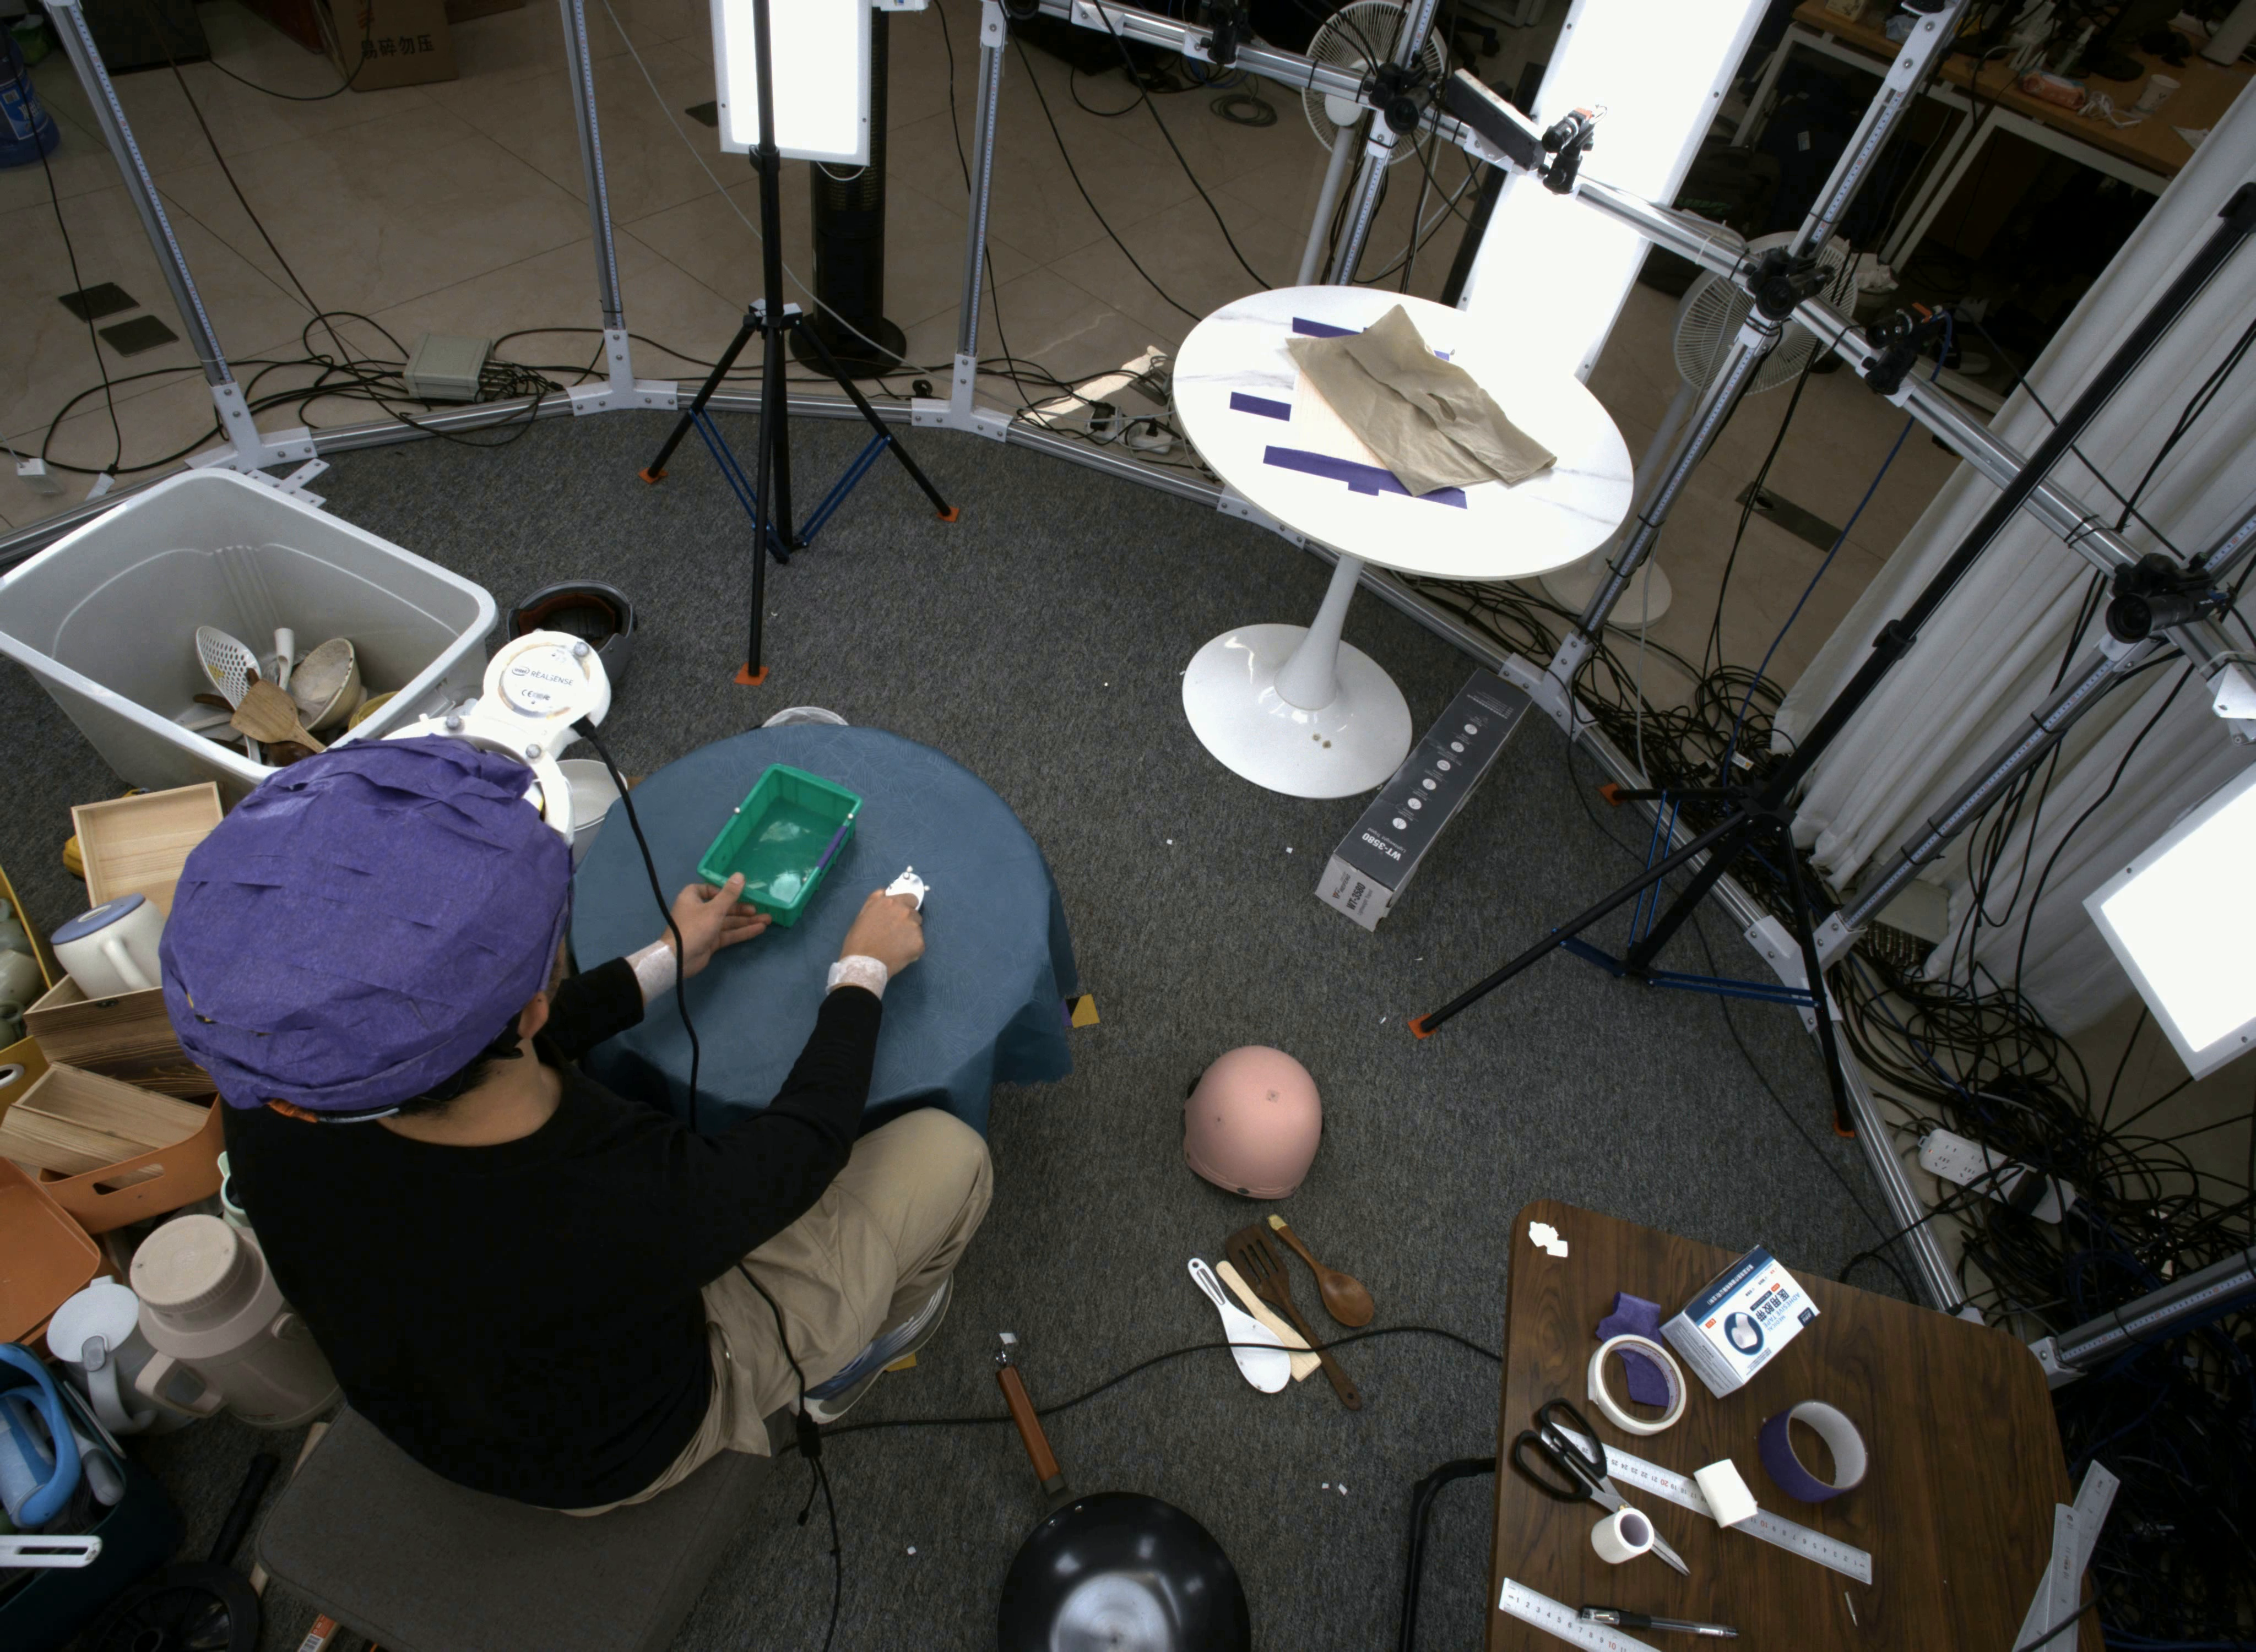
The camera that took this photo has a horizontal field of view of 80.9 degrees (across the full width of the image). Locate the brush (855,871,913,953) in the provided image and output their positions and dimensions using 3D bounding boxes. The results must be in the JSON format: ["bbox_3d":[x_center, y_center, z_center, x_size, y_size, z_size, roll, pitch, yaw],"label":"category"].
[{"bbox_3d":[-0.305,0.099,1.628,0.049,0.074,0.098,24,52,6],"label":"brush"}]

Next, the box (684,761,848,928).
[{"bbox_3d":[-0.458,0.024,1.652,0.137,0.066,0.208,21,50,0],"label":"box"}]
